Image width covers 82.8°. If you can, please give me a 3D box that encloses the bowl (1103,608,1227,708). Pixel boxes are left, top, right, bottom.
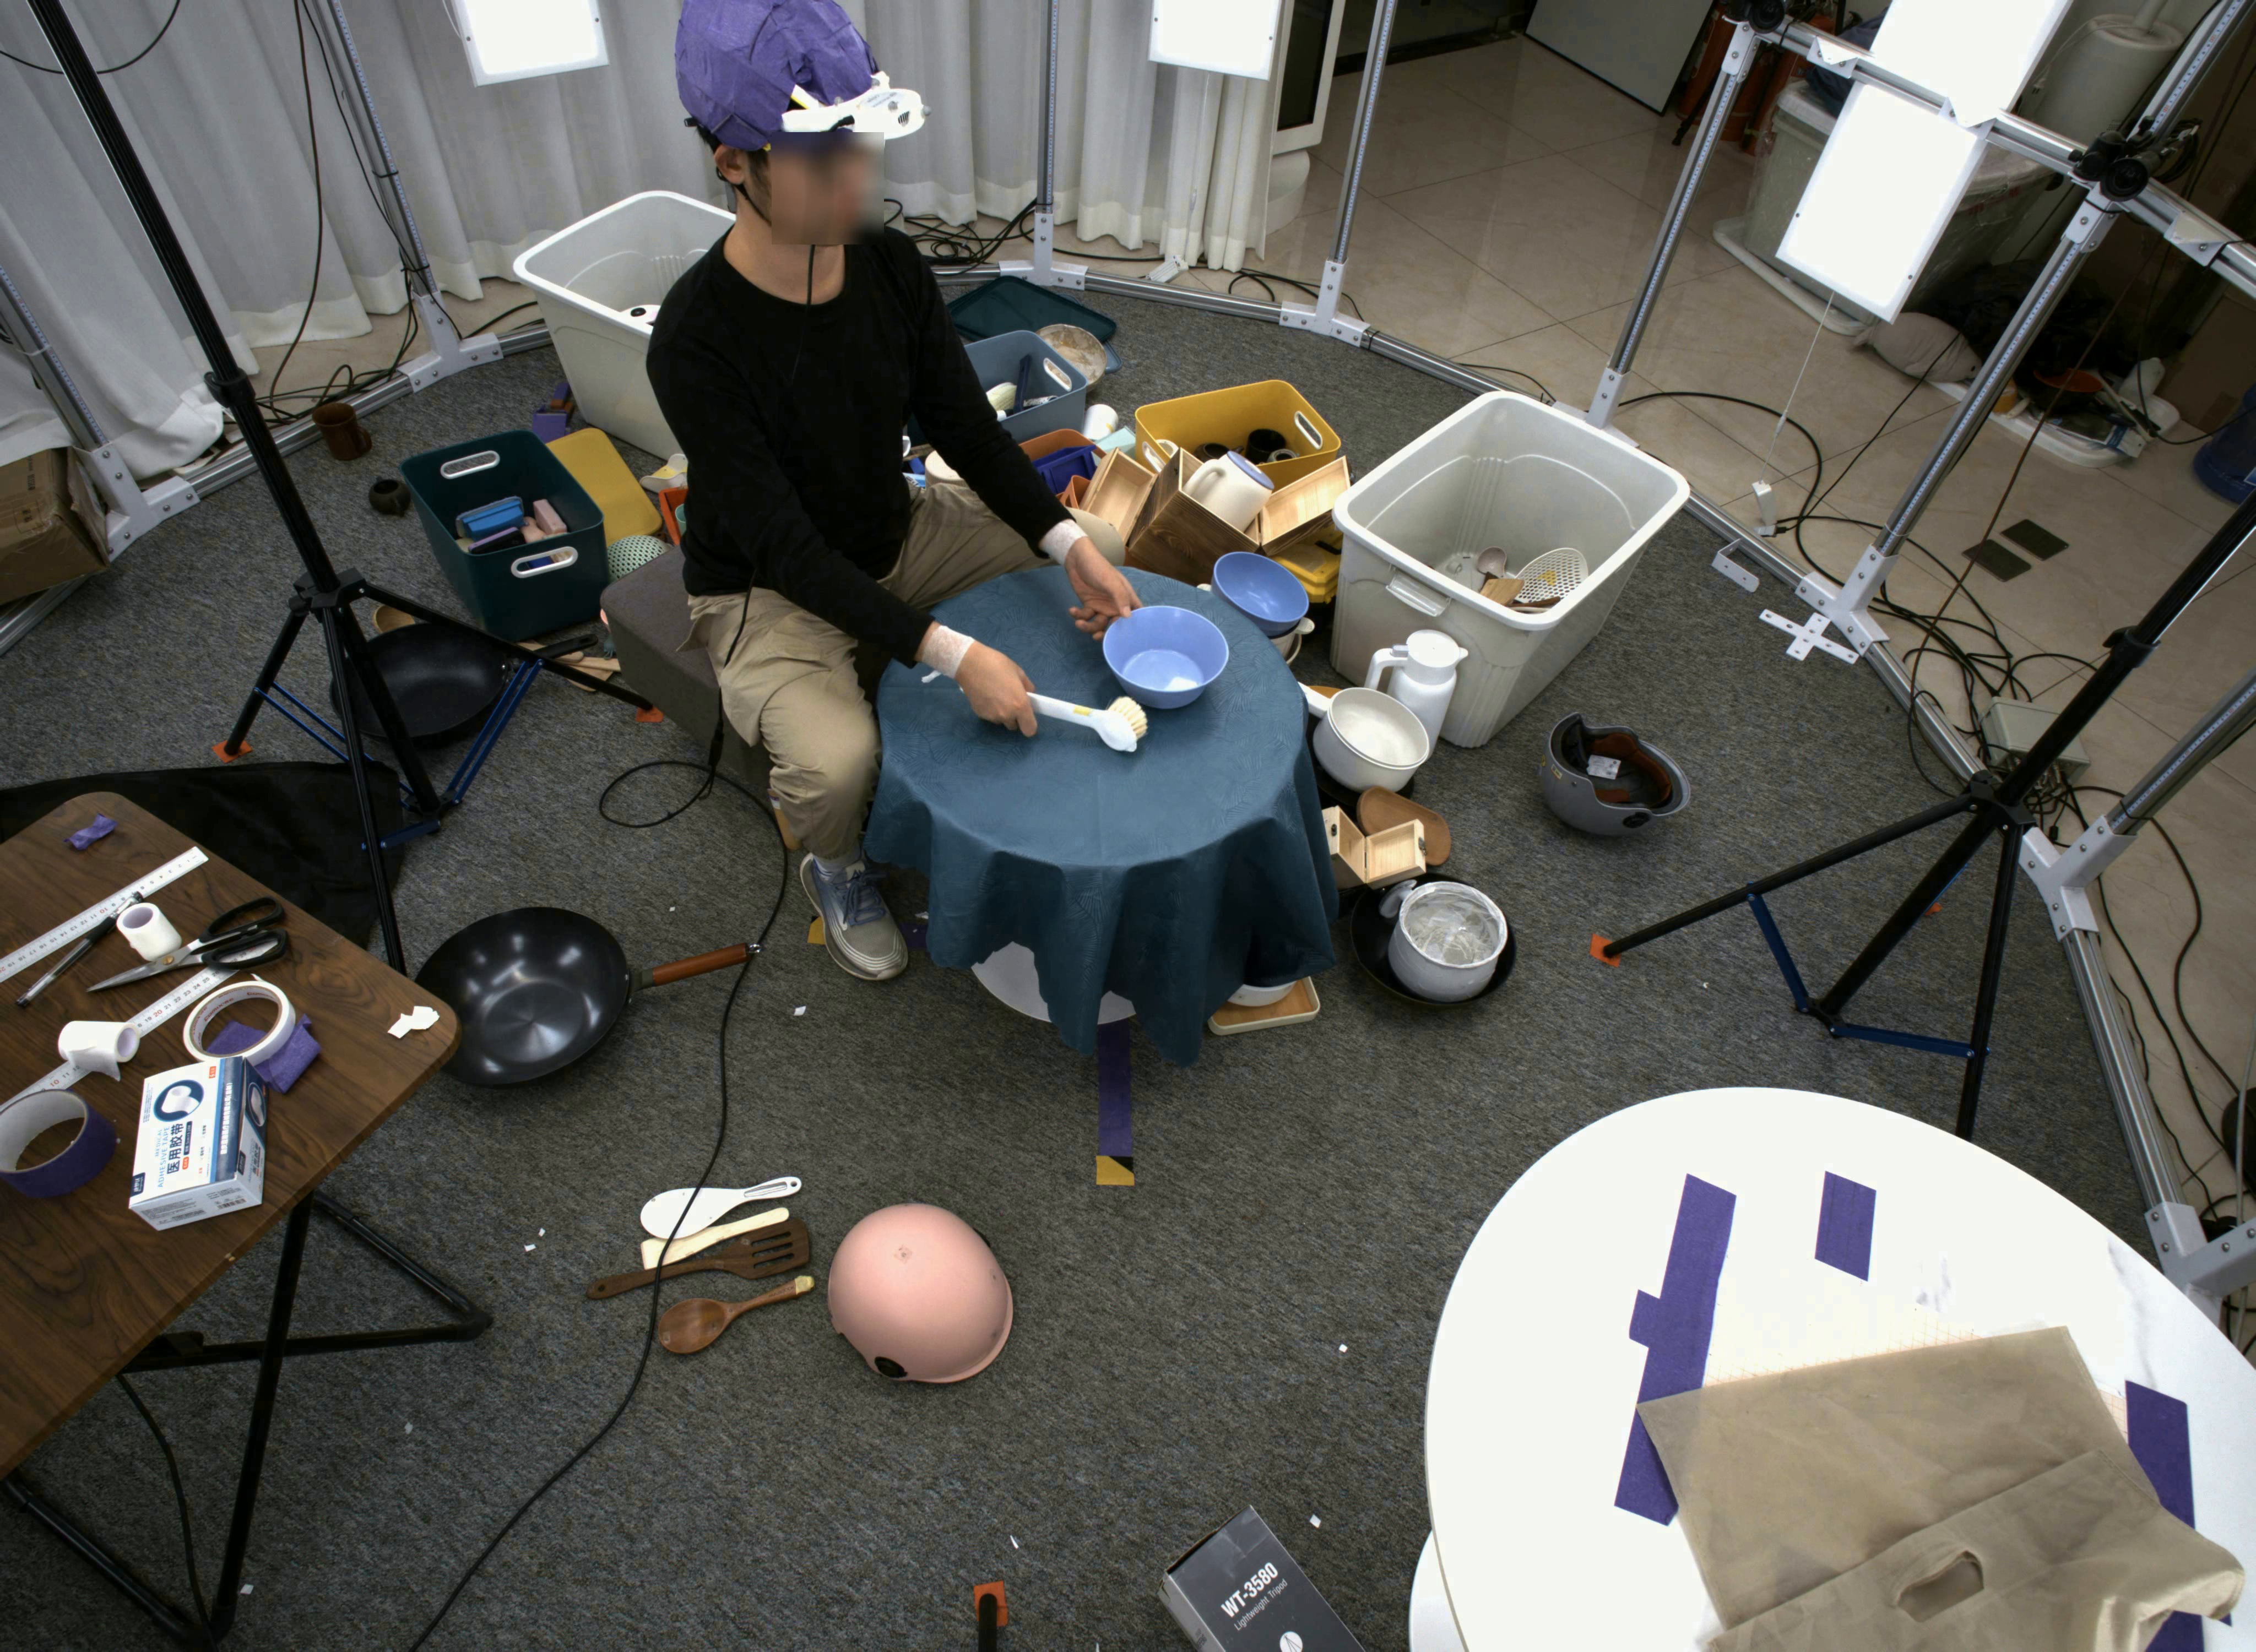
[{"bbox_3d":[0.050,-0.230,1.826,0.176,0.068,0.180,2,48,-2],"label":"bowl"}]

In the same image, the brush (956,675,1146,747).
[{"bbox_3d":[-0.103,-0.172,1.762,0.267,0.067,0.057,18,38,9],"label":"brush"}]
